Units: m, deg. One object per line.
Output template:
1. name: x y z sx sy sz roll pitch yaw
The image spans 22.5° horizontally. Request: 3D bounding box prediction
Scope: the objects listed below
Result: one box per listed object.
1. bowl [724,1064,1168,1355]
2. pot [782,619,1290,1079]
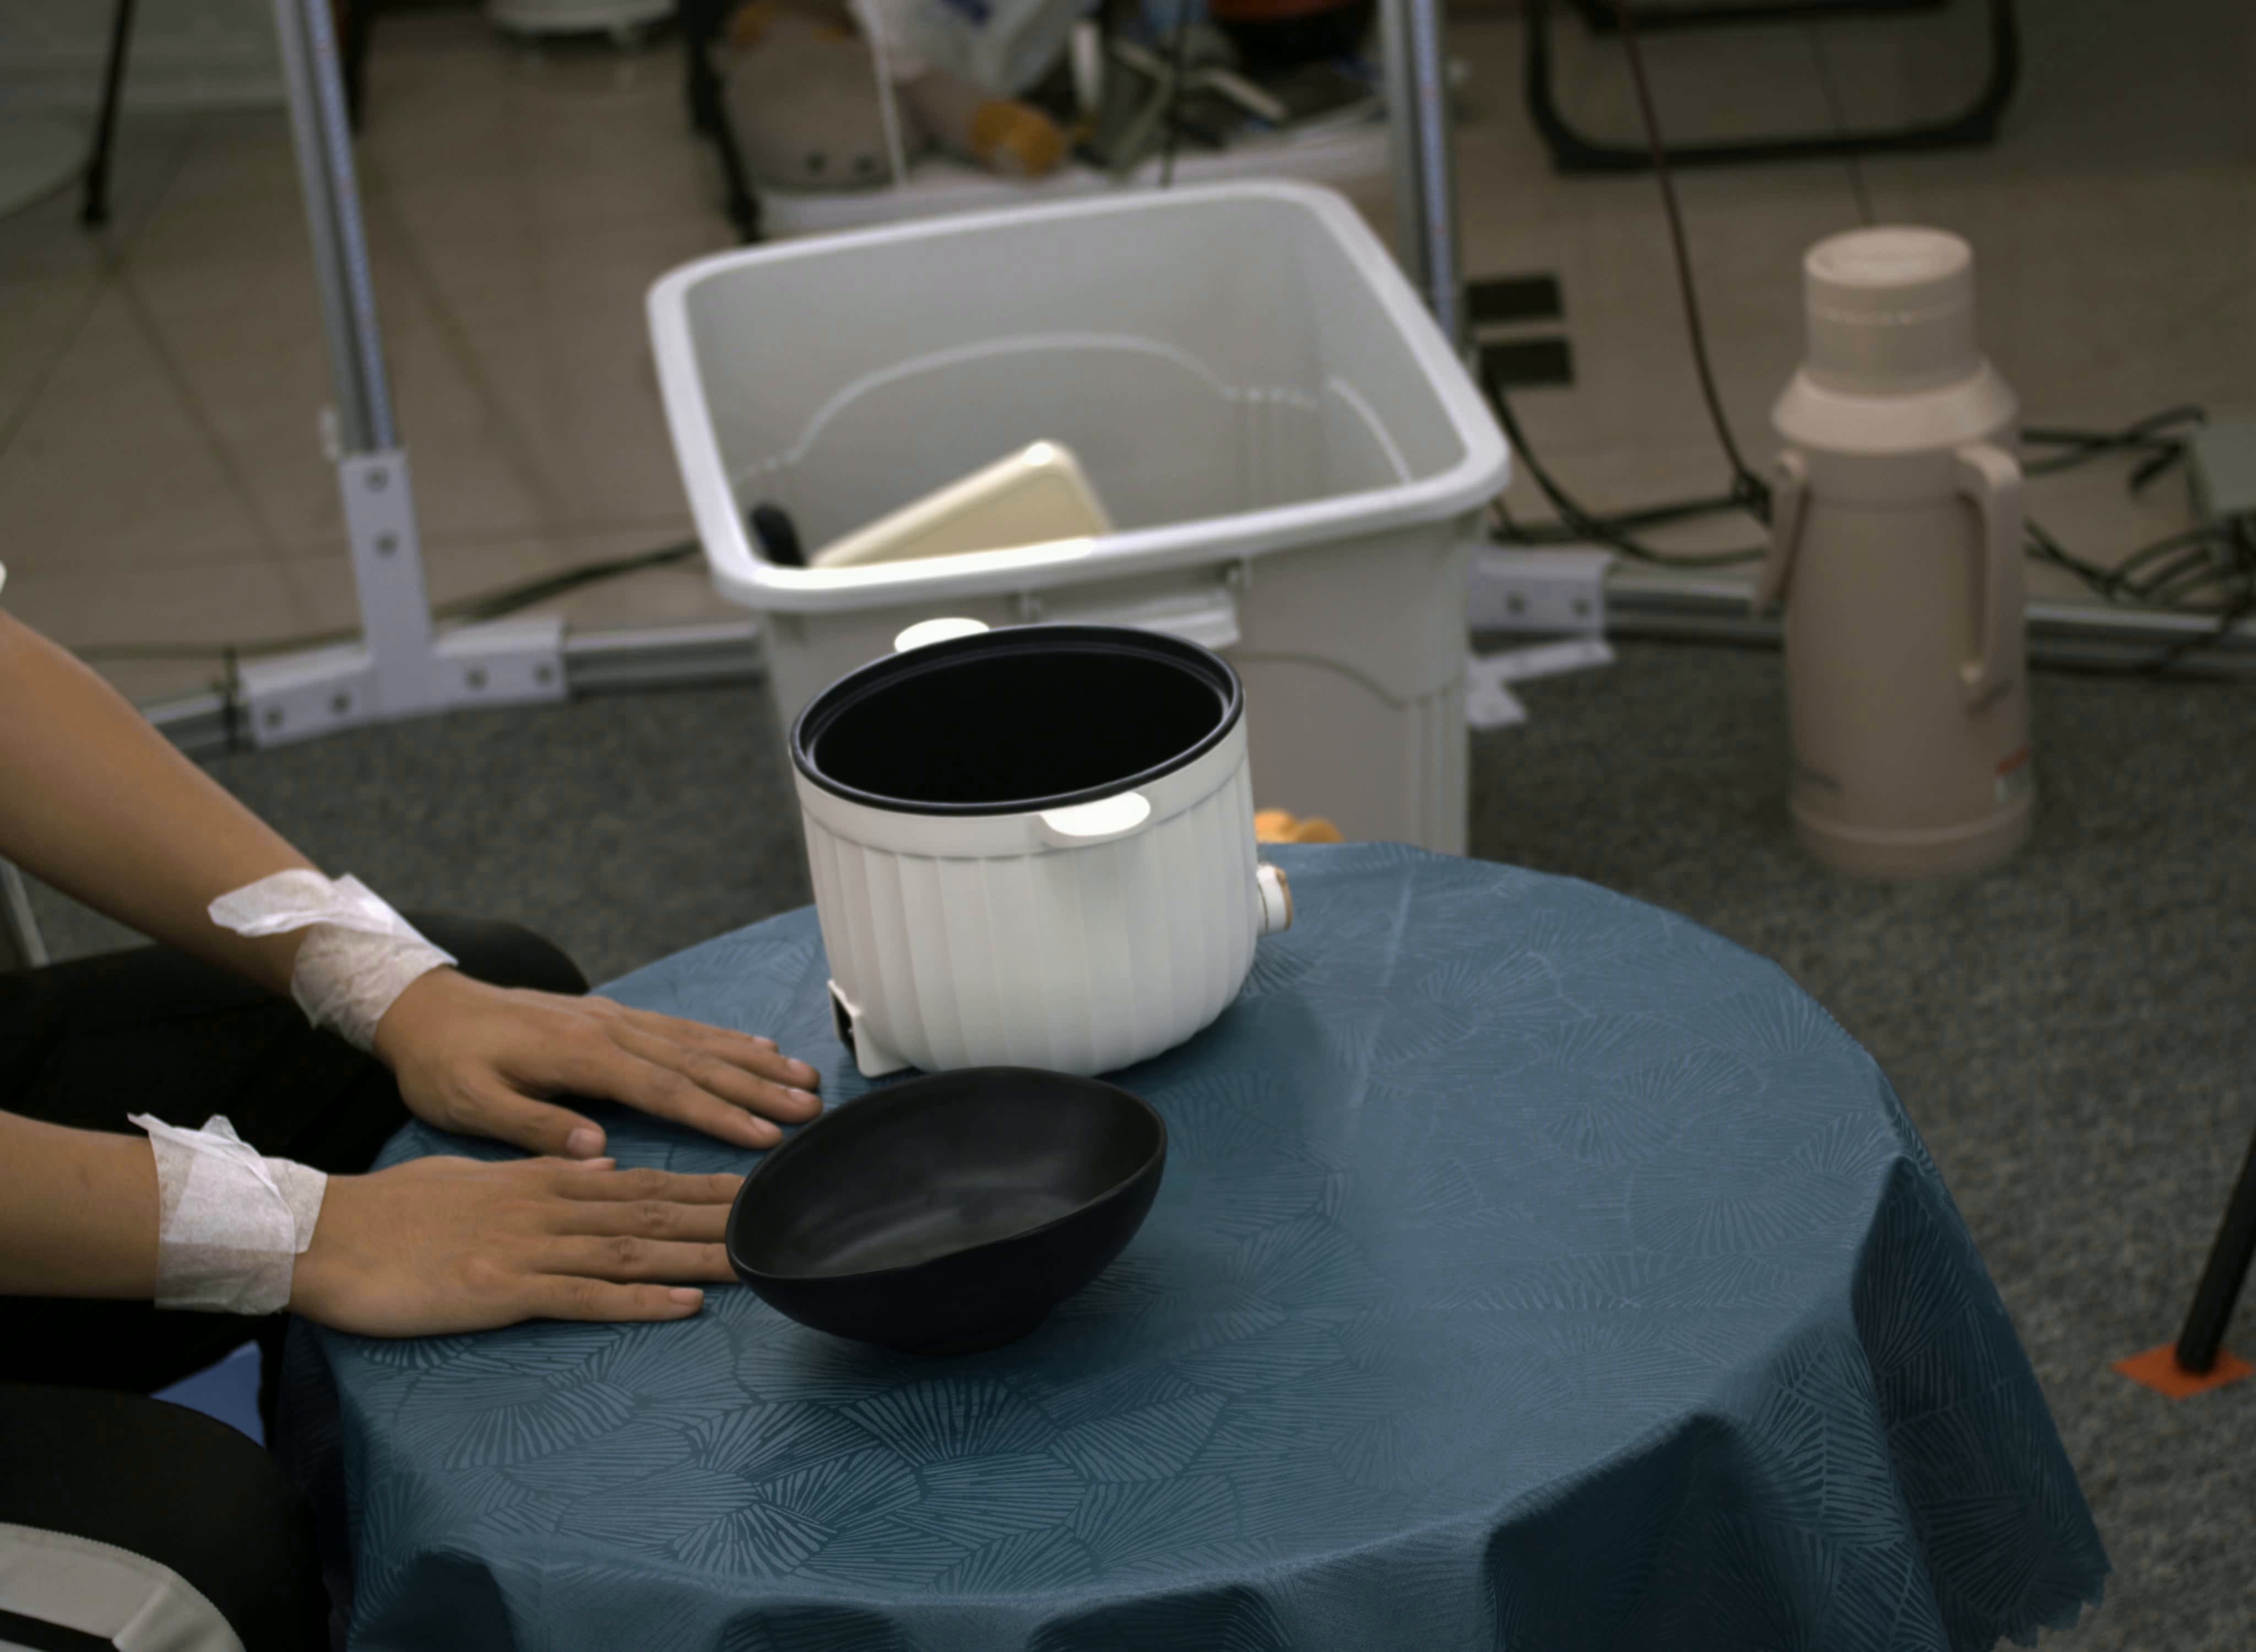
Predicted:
1. bowl: -0.062 0.149 2.068 0.169 0.068 0.136 -19 27 -24
2. pot: -0.033 0.013 2.264 0.190 0.145 0.237 -17 28 -14
